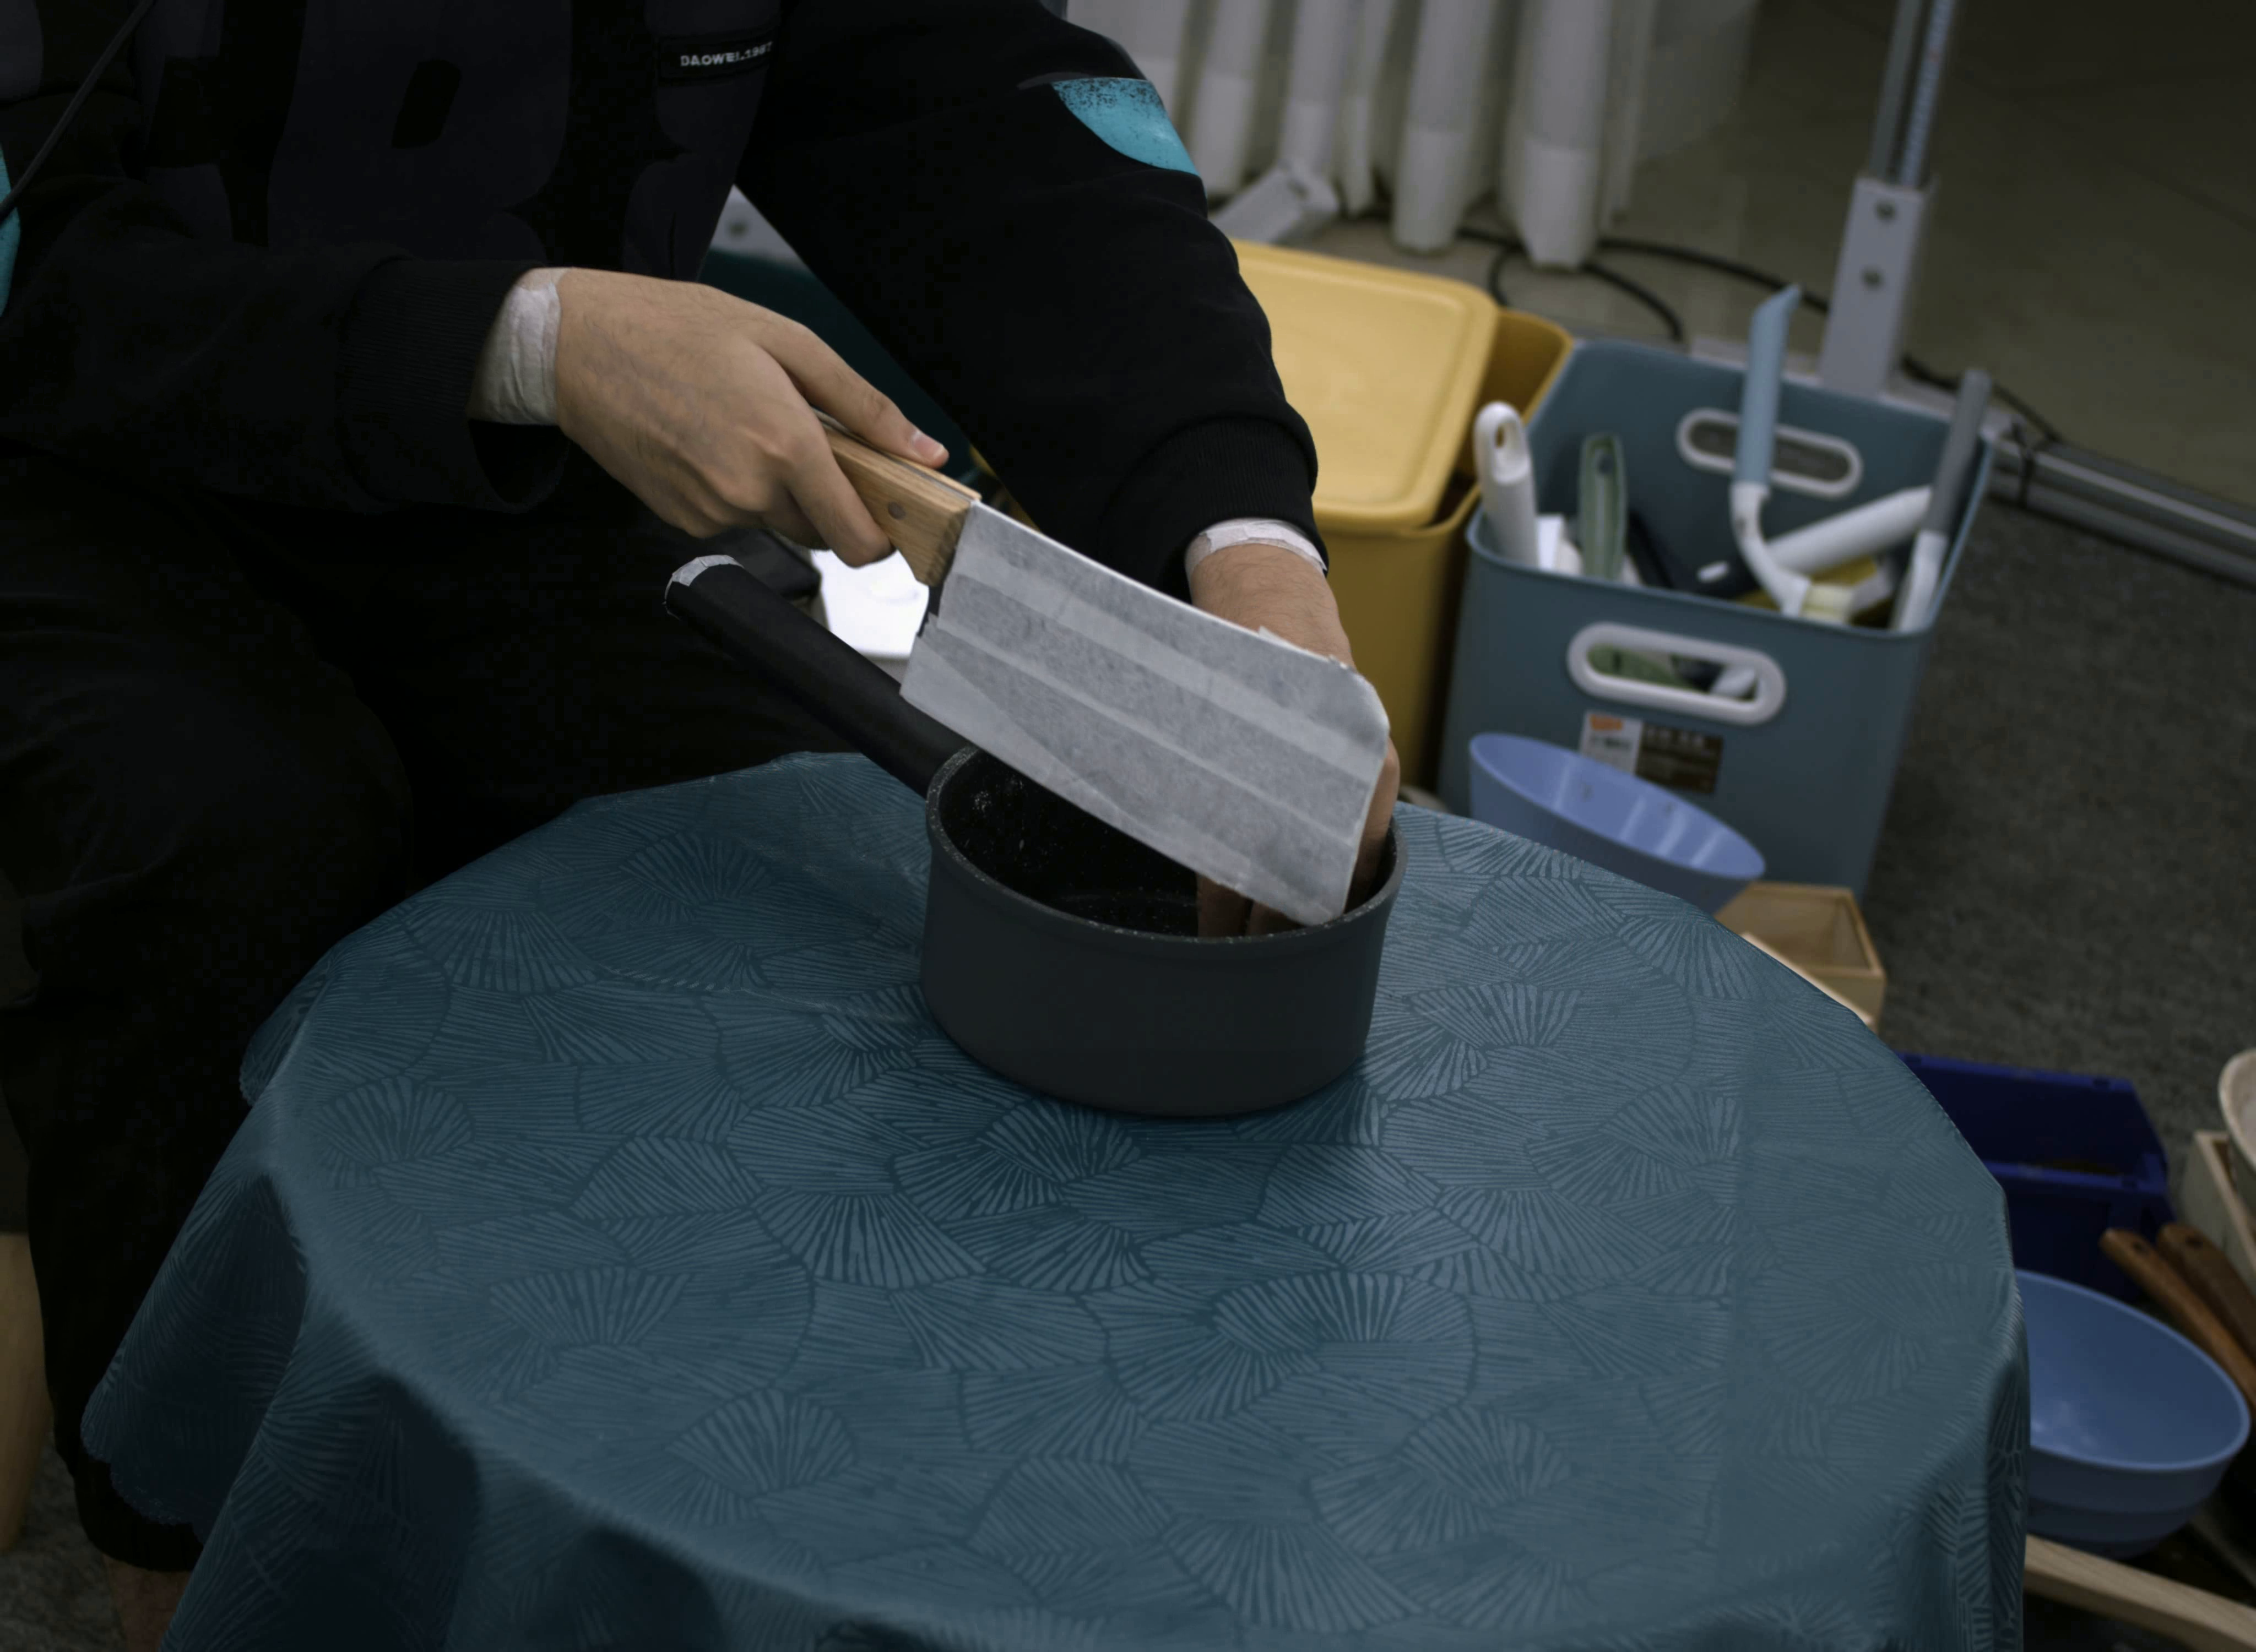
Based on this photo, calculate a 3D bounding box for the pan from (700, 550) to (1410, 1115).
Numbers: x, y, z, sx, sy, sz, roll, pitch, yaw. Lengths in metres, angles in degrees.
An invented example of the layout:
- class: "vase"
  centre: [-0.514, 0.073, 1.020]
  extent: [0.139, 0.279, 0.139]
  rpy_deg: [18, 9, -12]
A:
- class: "pan"
  centre: [-0.045, -0.001, 1.944]
  extent: [0.171, 0.086, 0.331]
  rpy_deg: [-17, 36, -42]

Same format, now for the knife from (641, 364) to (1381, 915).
- class: "knife"
  centre: [-0.043, -0.077, 1.872]
  extent: [0.316, 0.113, 0.021]
  rpy_deg: [32, 32, 17]
